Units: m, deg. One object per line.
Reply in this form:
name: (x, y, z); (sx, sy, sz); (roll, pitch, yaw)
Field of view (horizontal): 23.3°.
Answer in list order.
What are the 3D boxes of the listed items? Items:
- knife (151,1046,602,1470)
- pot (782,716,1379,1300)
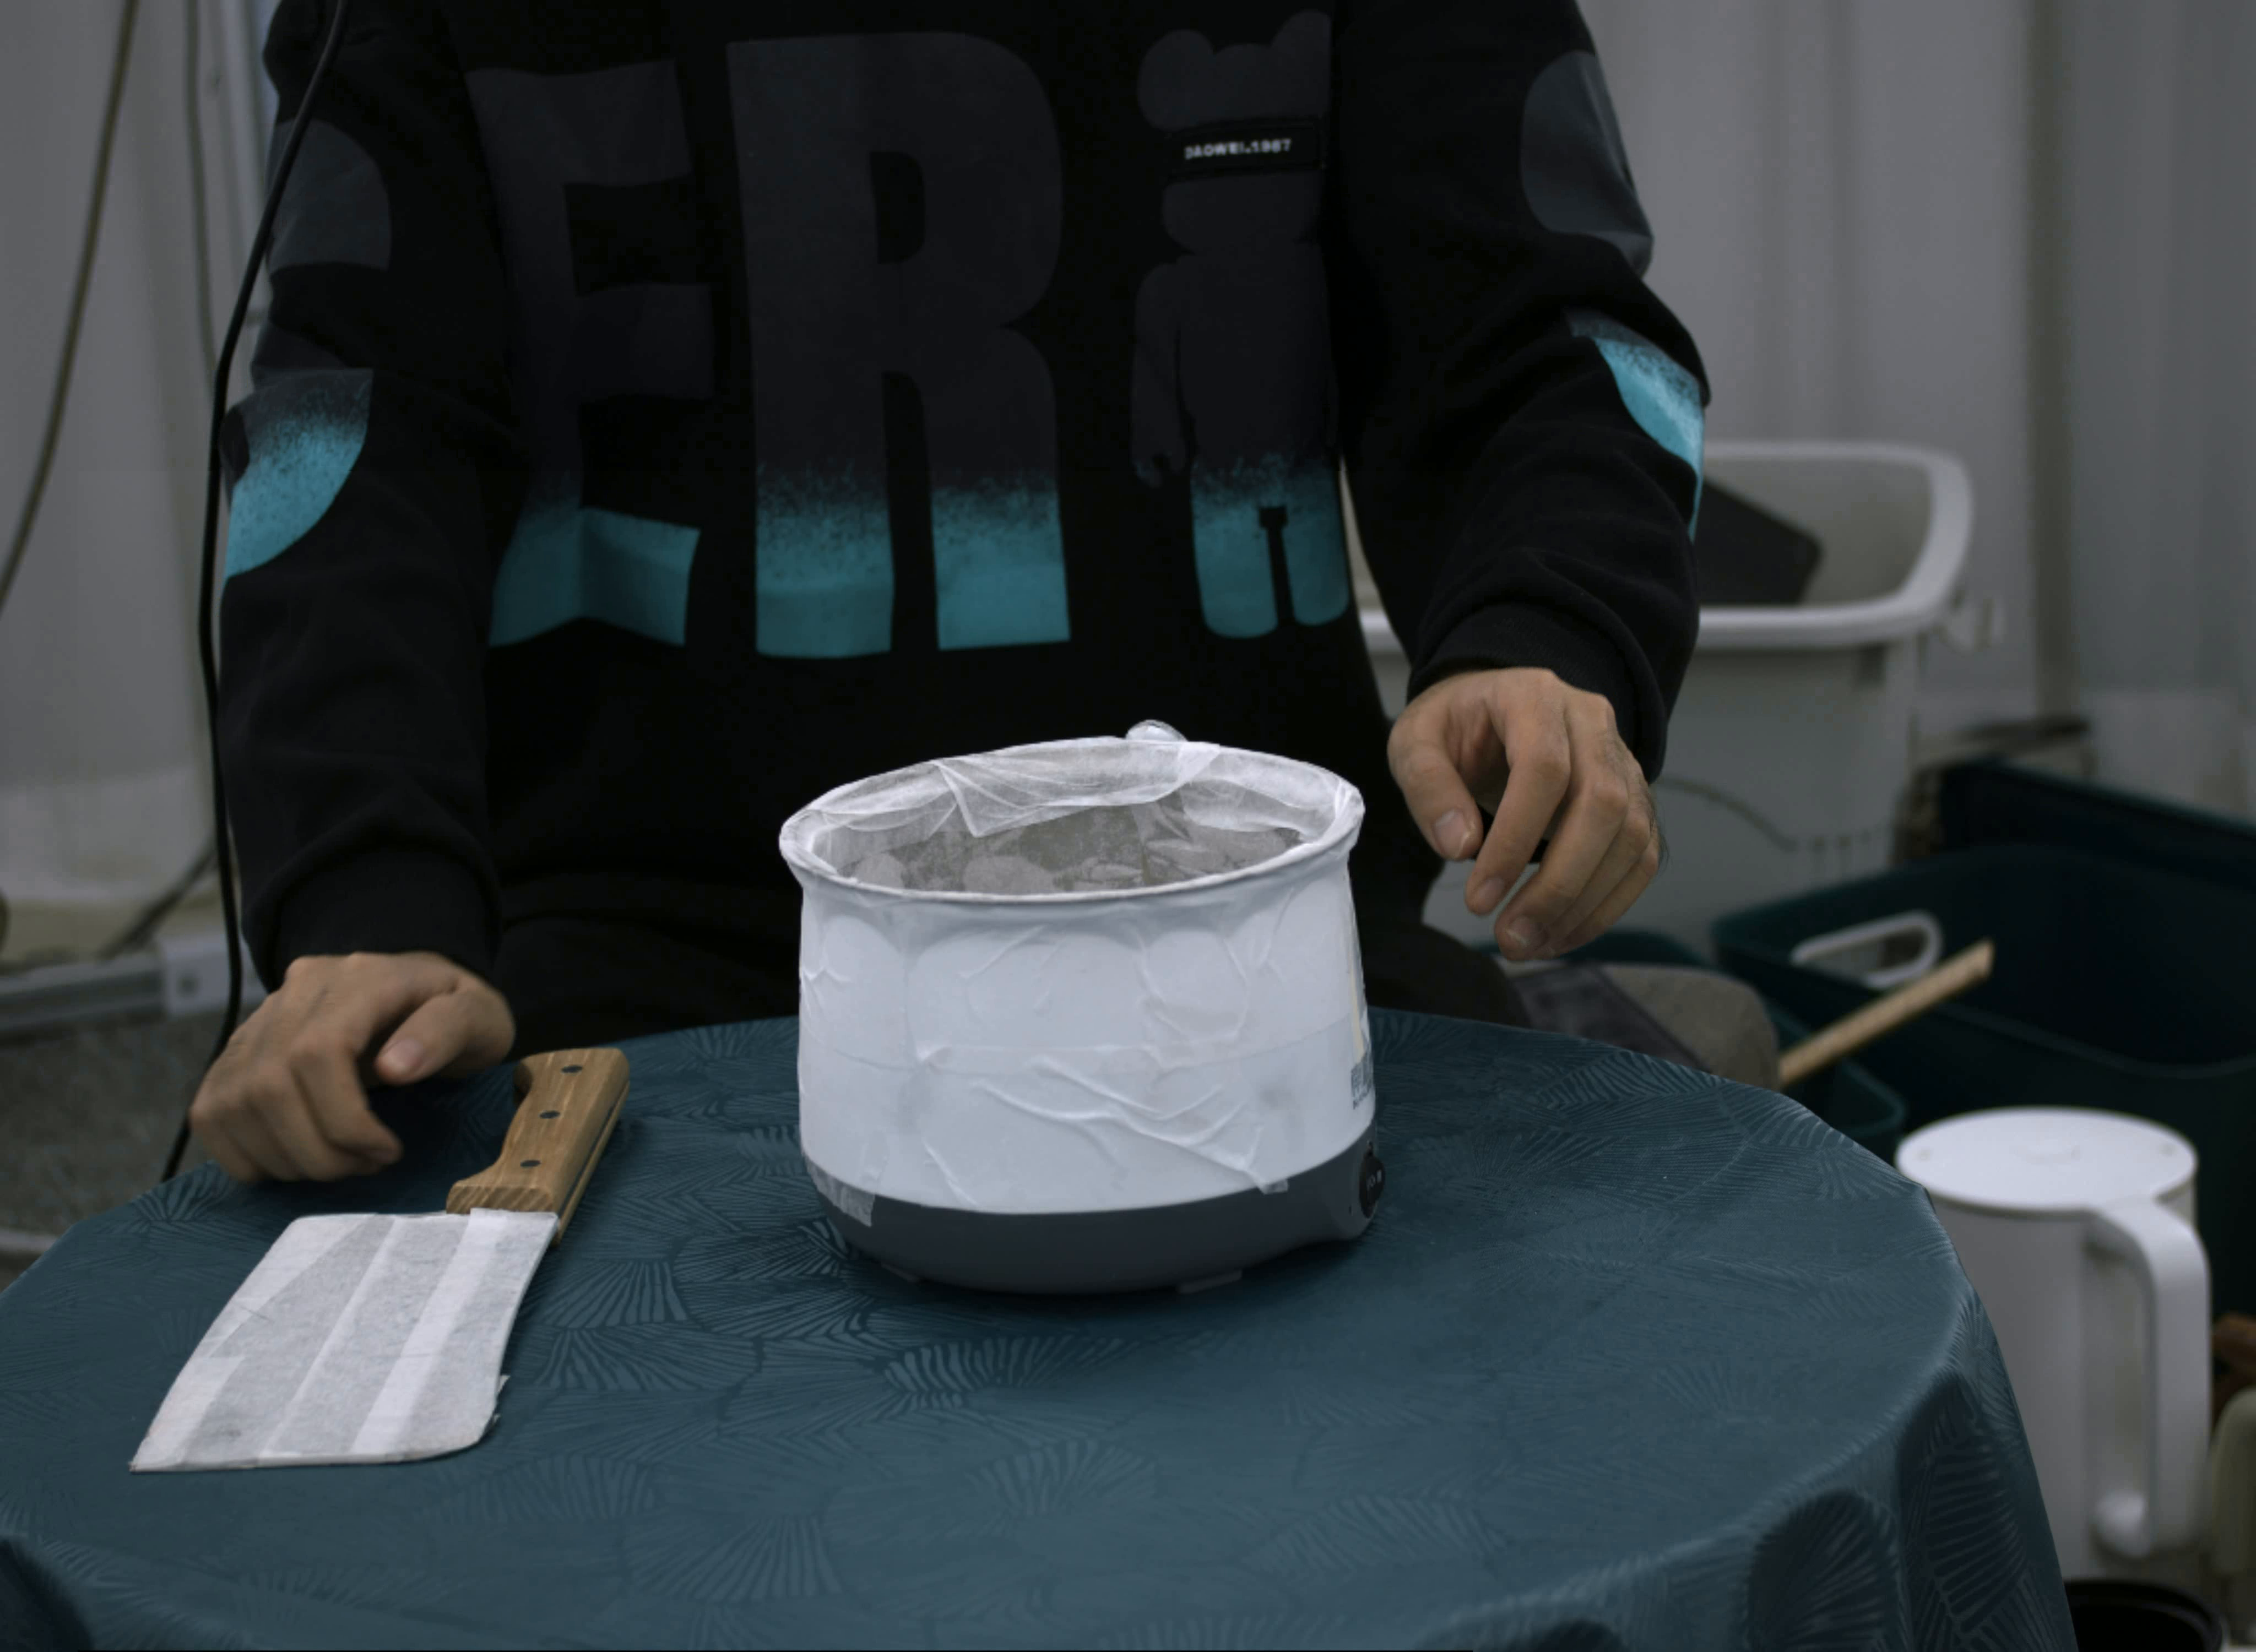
knife: (-0.210, 0.130, 1.664); (0.114, 0.021, 0.317); (-1, 18, 10)
pot: (-0.007, 0.051, 1.692); (0.178, 0.136, 0.235); (1, 16, 13)
